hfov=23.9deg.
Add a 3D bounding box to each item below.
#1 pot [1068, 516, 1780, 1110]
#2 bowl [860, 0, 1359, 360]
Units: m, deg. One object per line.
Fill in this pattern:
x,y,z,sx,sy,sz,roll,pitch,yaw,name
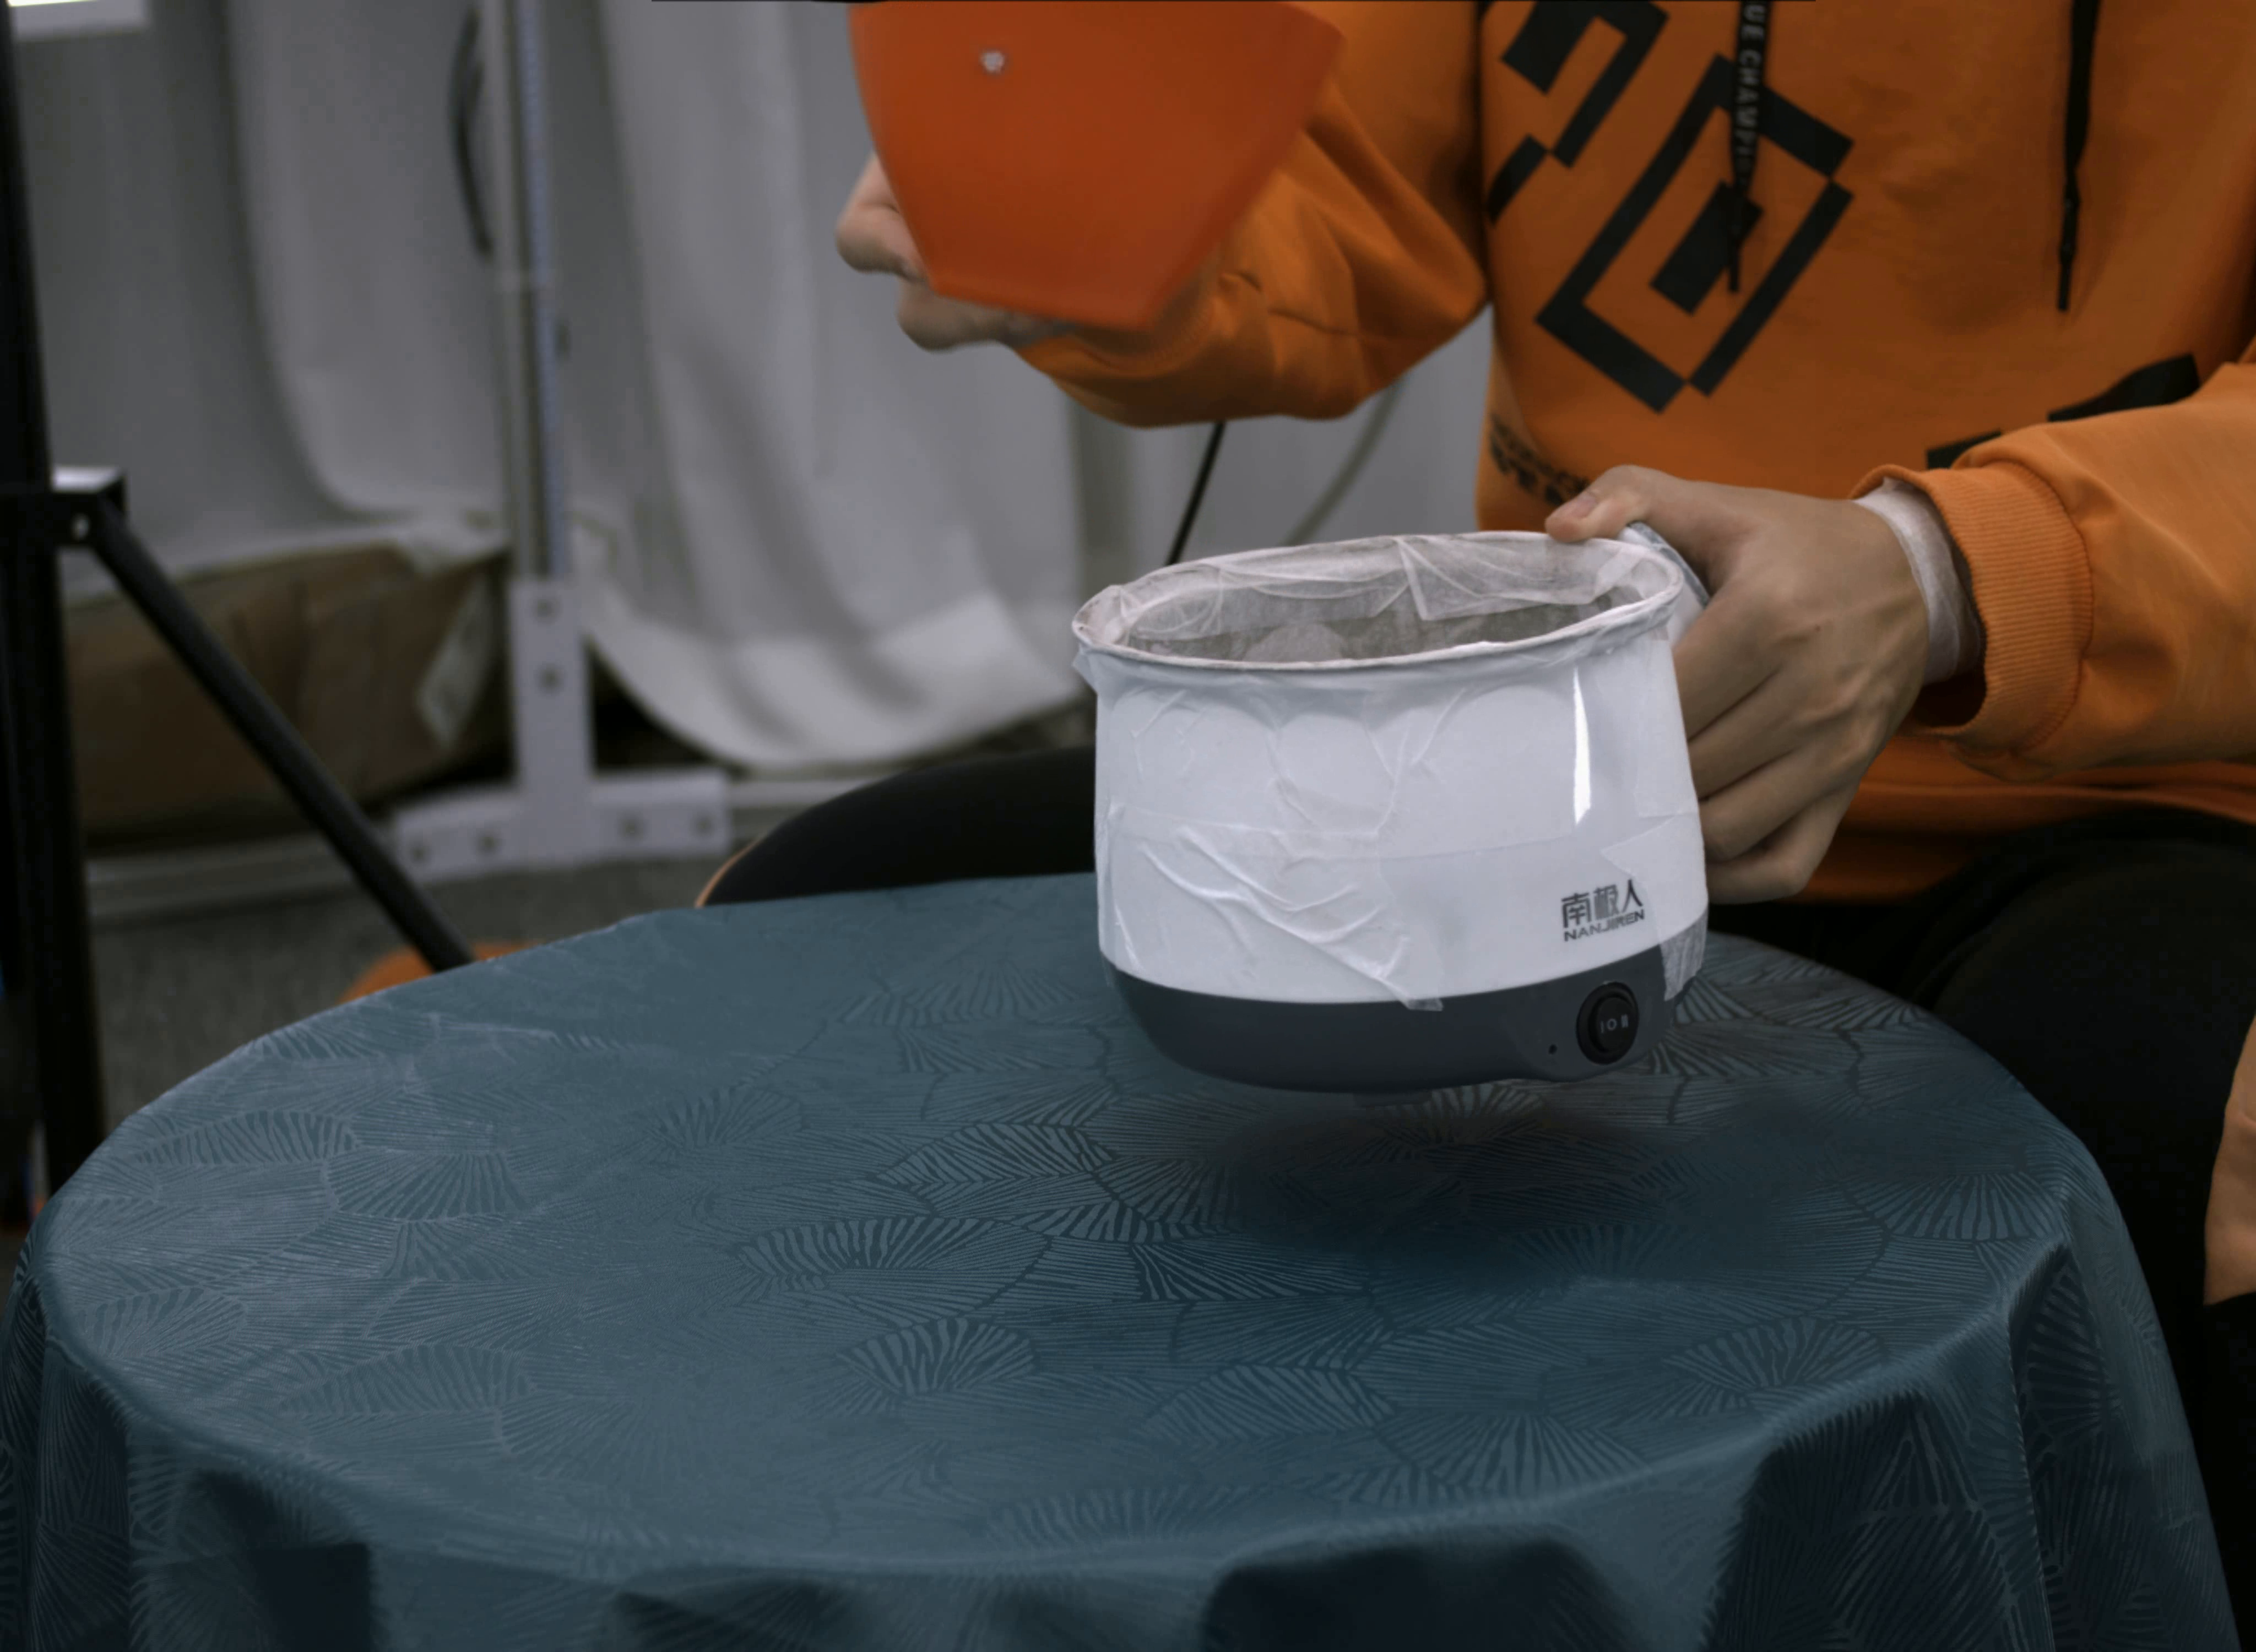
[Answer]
0.097,-0.010,1.551,0.228,0.136,0.183,-15,17,-36,pot
-0.014,-0.192,1.545,0.147,0.105,0.148,11,6,-3,bowl
